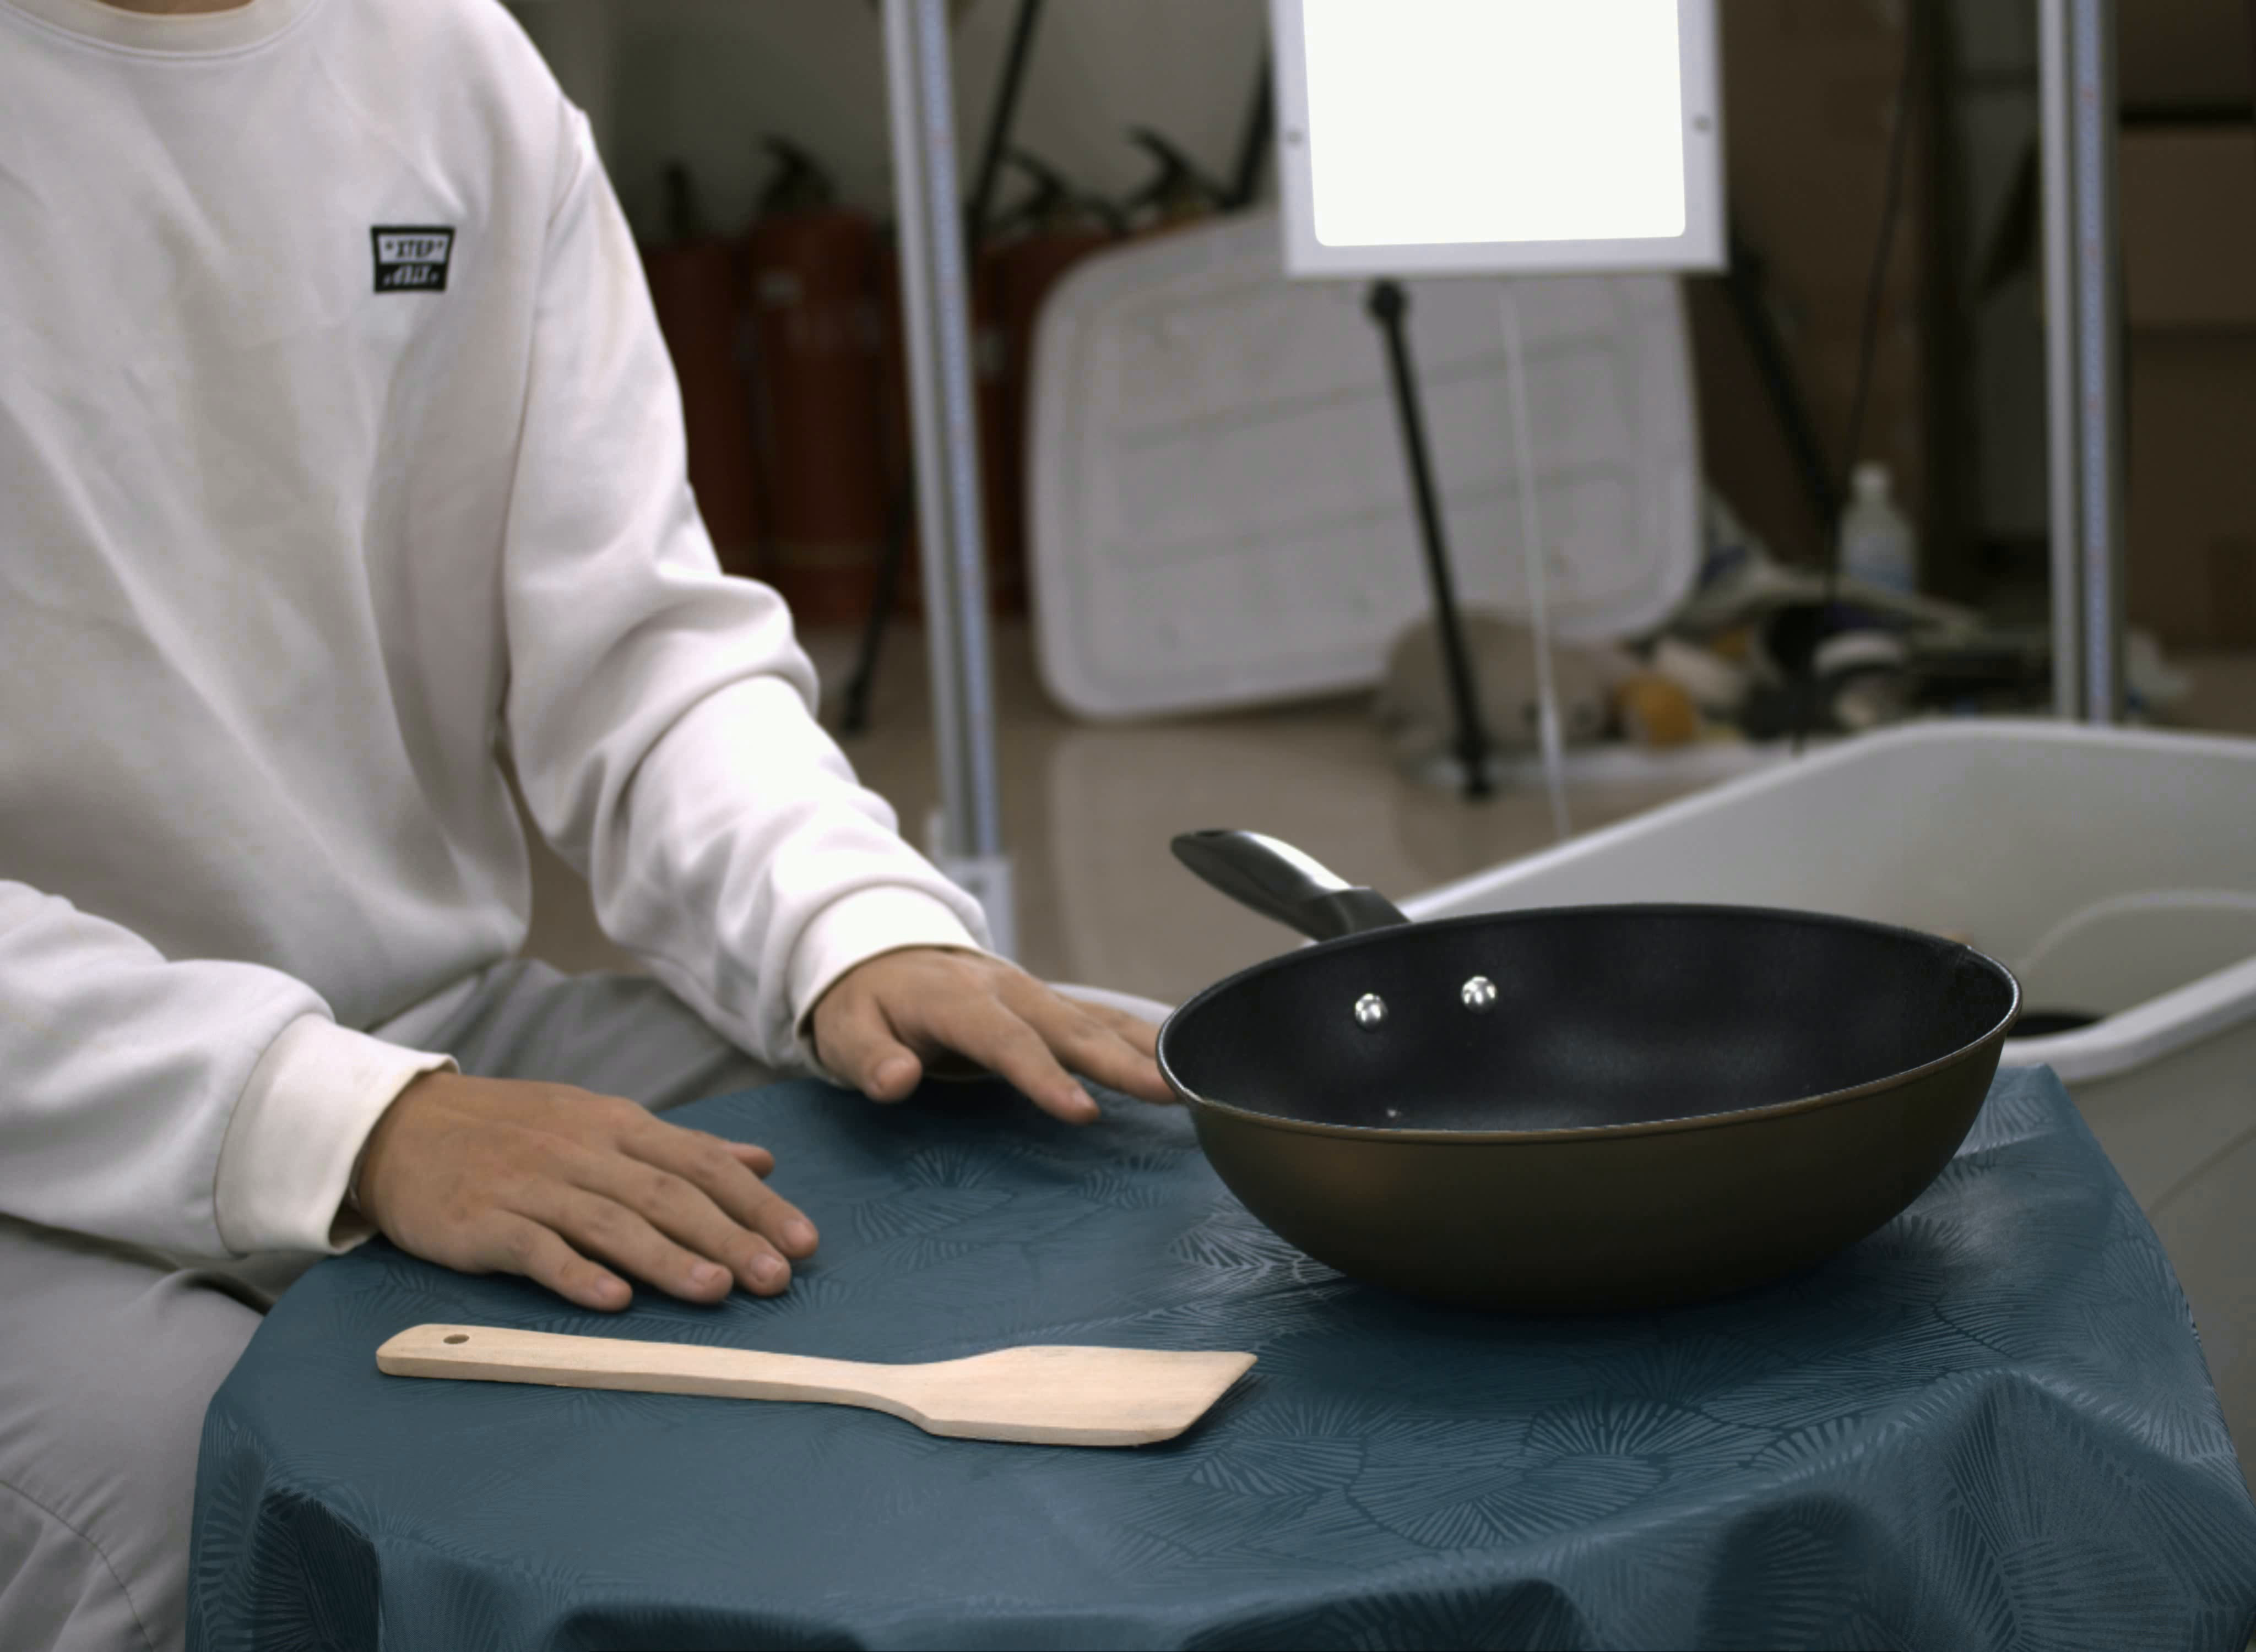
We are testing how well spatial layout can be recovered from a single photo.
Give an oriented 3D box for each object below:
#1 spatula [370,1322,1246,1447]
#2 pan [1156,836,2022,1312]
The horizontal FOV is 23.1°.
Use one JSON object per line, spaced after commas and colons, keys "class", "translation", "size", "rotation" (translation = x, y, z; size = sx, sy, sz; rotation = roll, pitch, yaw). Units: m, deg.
{"class": "spatula", "translation": [-0.108, 0.172, 1.731], "size": [0.297, 0.011, 0.071], "rotation": [1, 16, 25]}
{"class": "pan", "translation": [0.118, 0.081, 1.871], "size": [0.283, 0.087, 0.469], "rotation": [-9, 13, -20]}
